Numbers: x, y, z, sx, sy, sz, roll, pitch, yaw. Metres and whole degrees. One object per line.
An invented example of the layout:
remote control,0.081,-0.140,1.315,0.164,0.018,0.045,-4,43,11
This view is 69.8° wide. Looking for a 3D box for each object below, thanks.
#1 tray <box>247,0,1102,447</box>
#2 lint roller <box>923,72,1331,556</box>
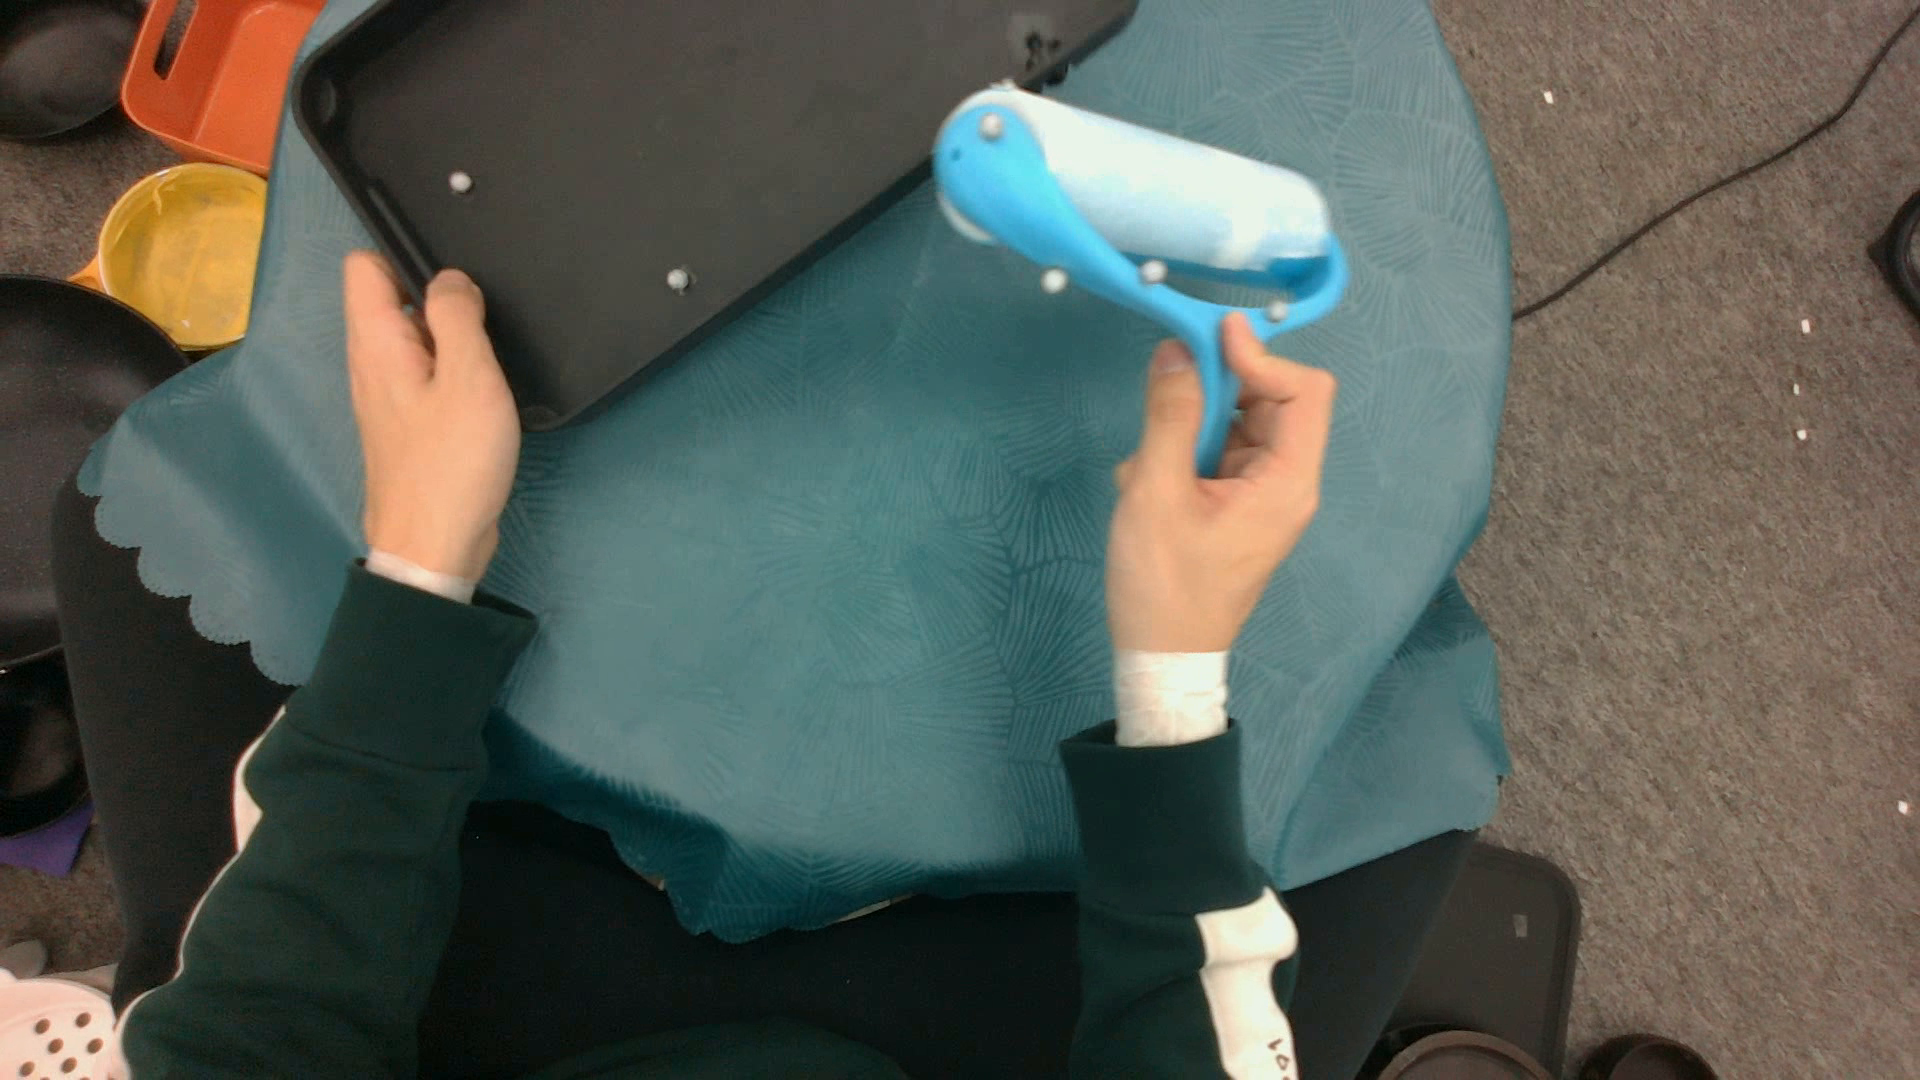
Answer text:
tray,-0.114,-0.197,0.566,0.318,0.037,0.184,-37,91,2
lint roller,0.079,-0.085,0.558,0.229,0.068,0.180,-8,93,-48
